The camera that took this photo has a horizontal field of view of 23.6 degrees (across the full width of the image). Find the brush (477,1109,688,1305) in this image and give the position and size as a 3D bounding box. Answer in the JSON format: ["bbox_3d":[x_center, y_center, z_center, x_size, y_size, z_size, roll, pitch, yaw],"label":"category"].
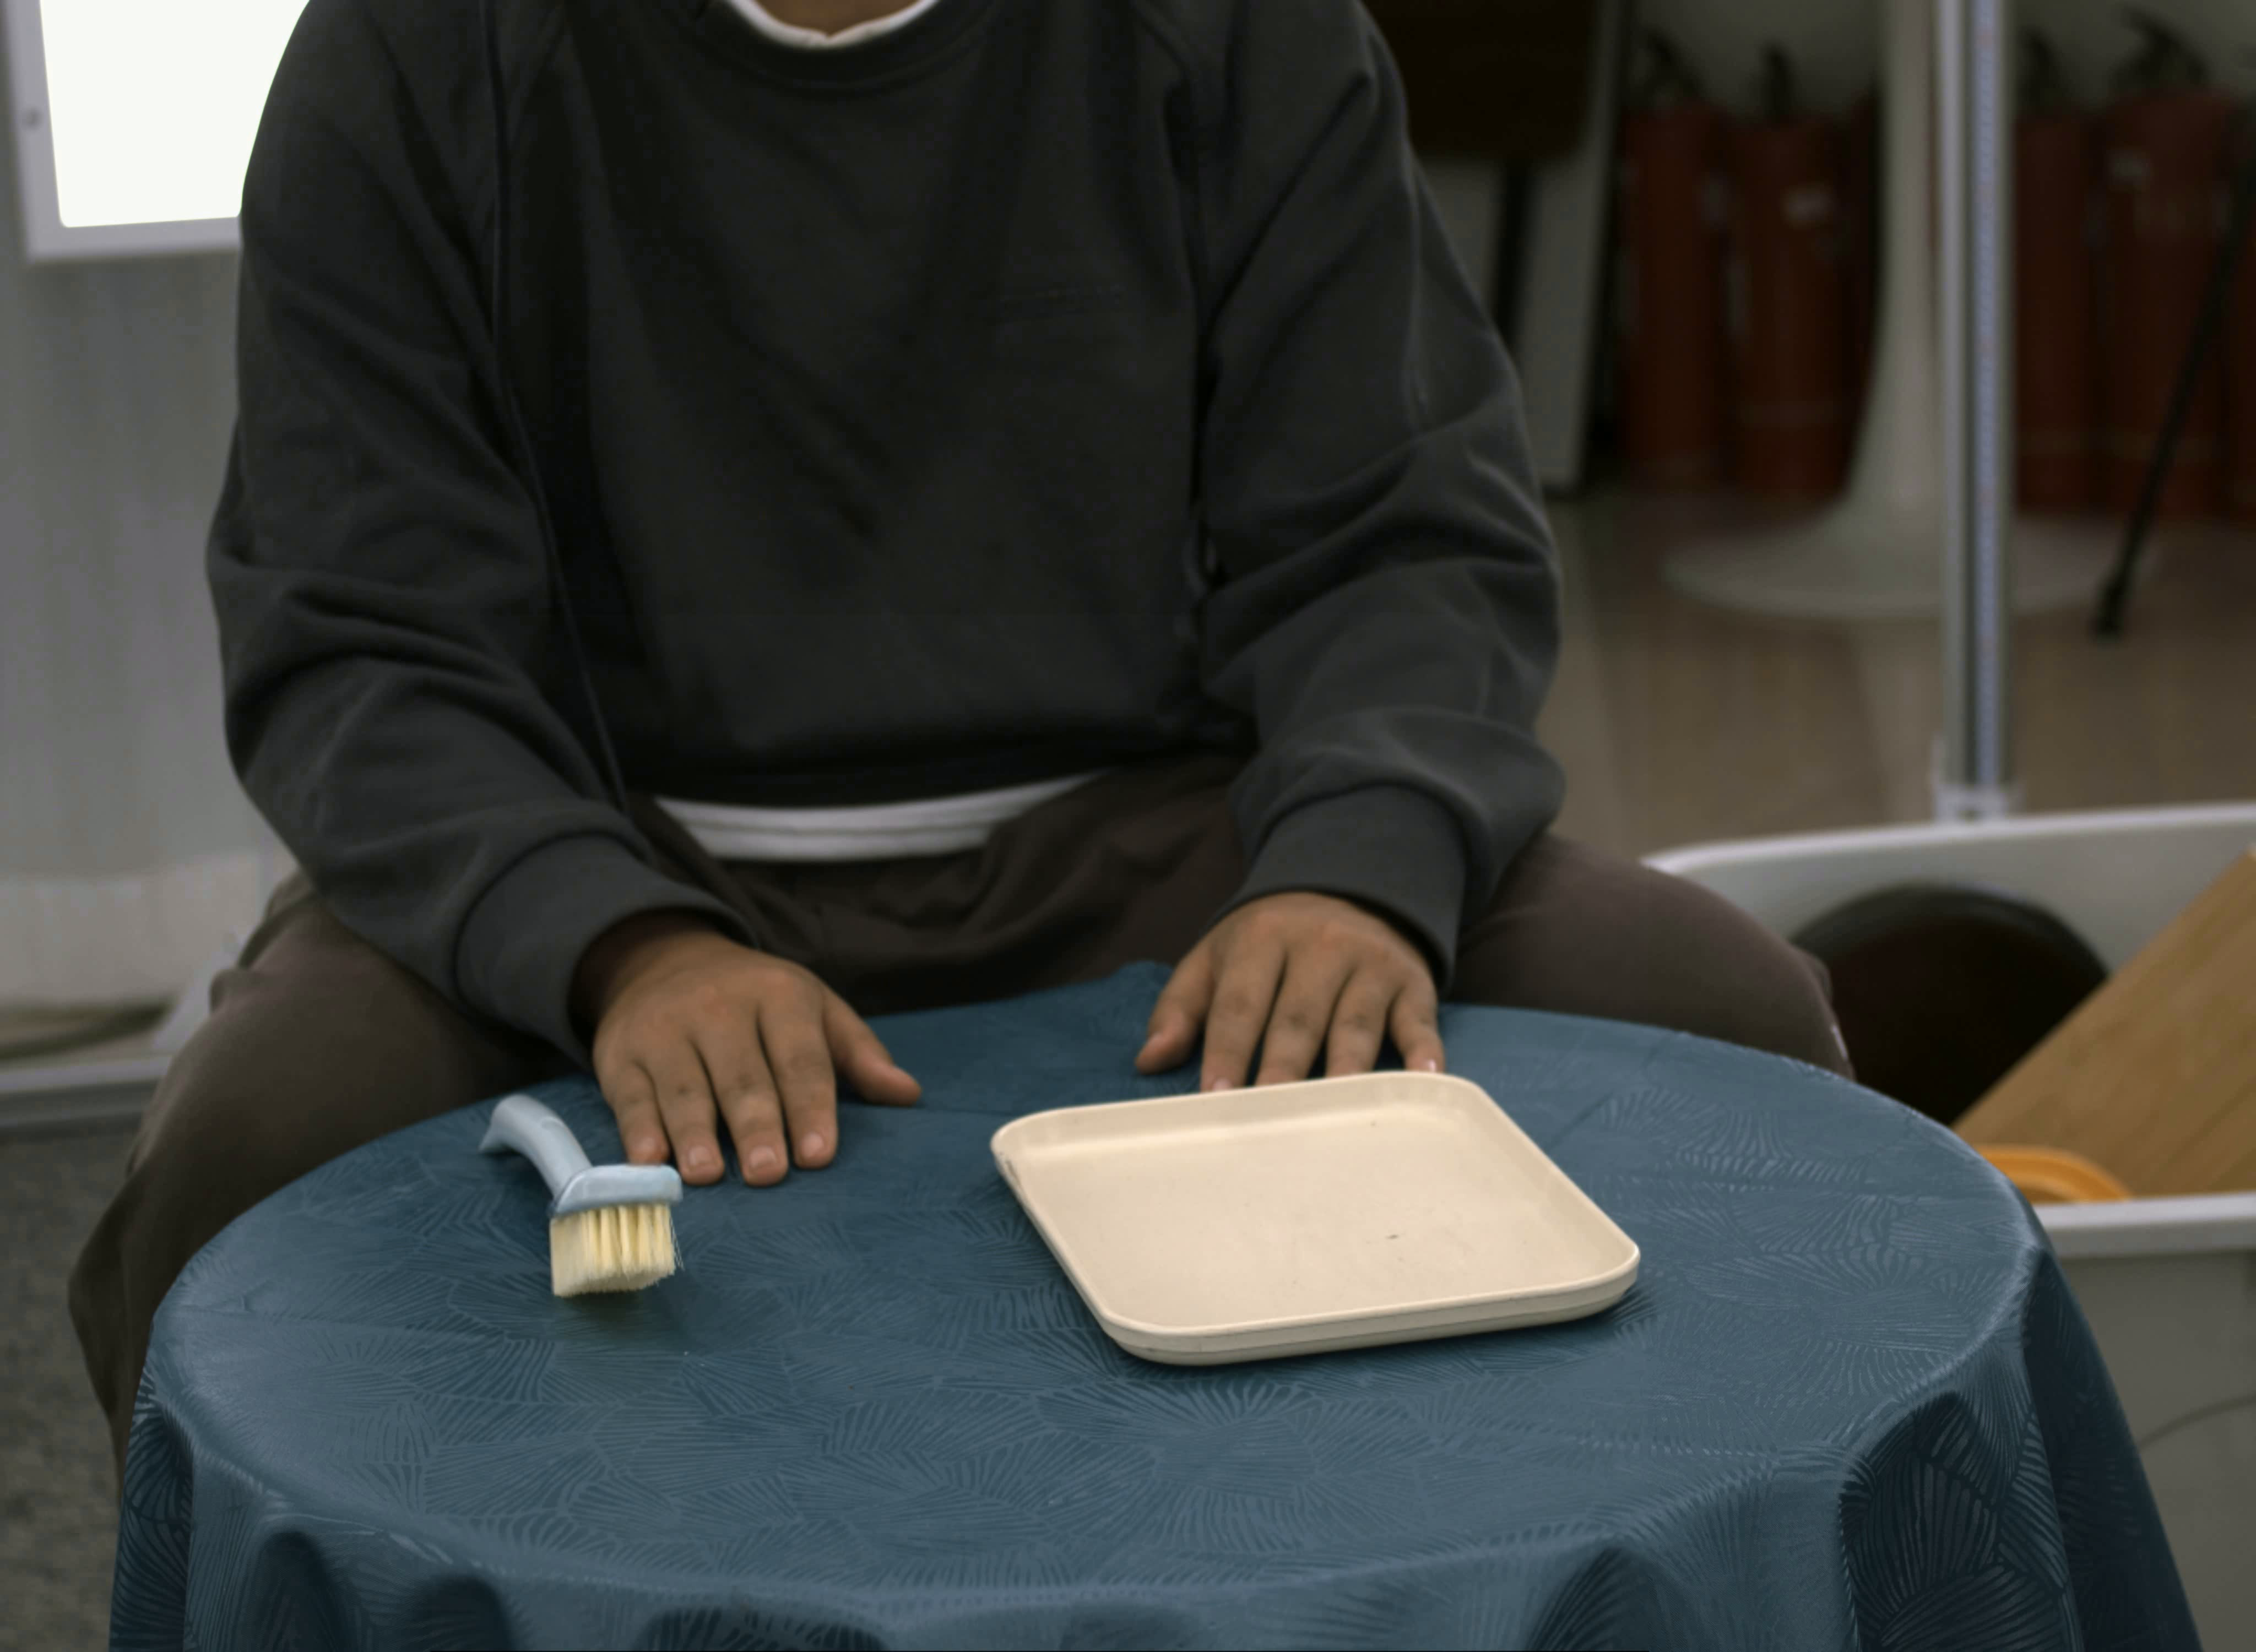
[{"bbox_3d":[-0.182,0.124,1.752,0.037,0.050,0.230,-1,4,-18],"label":"brush"}]

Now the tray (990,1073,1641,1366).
[{"bbox_3d":[0.056,0.124,1.710,0.168,0.017,0.241,-6,14,-10],"label":"tray"}]
